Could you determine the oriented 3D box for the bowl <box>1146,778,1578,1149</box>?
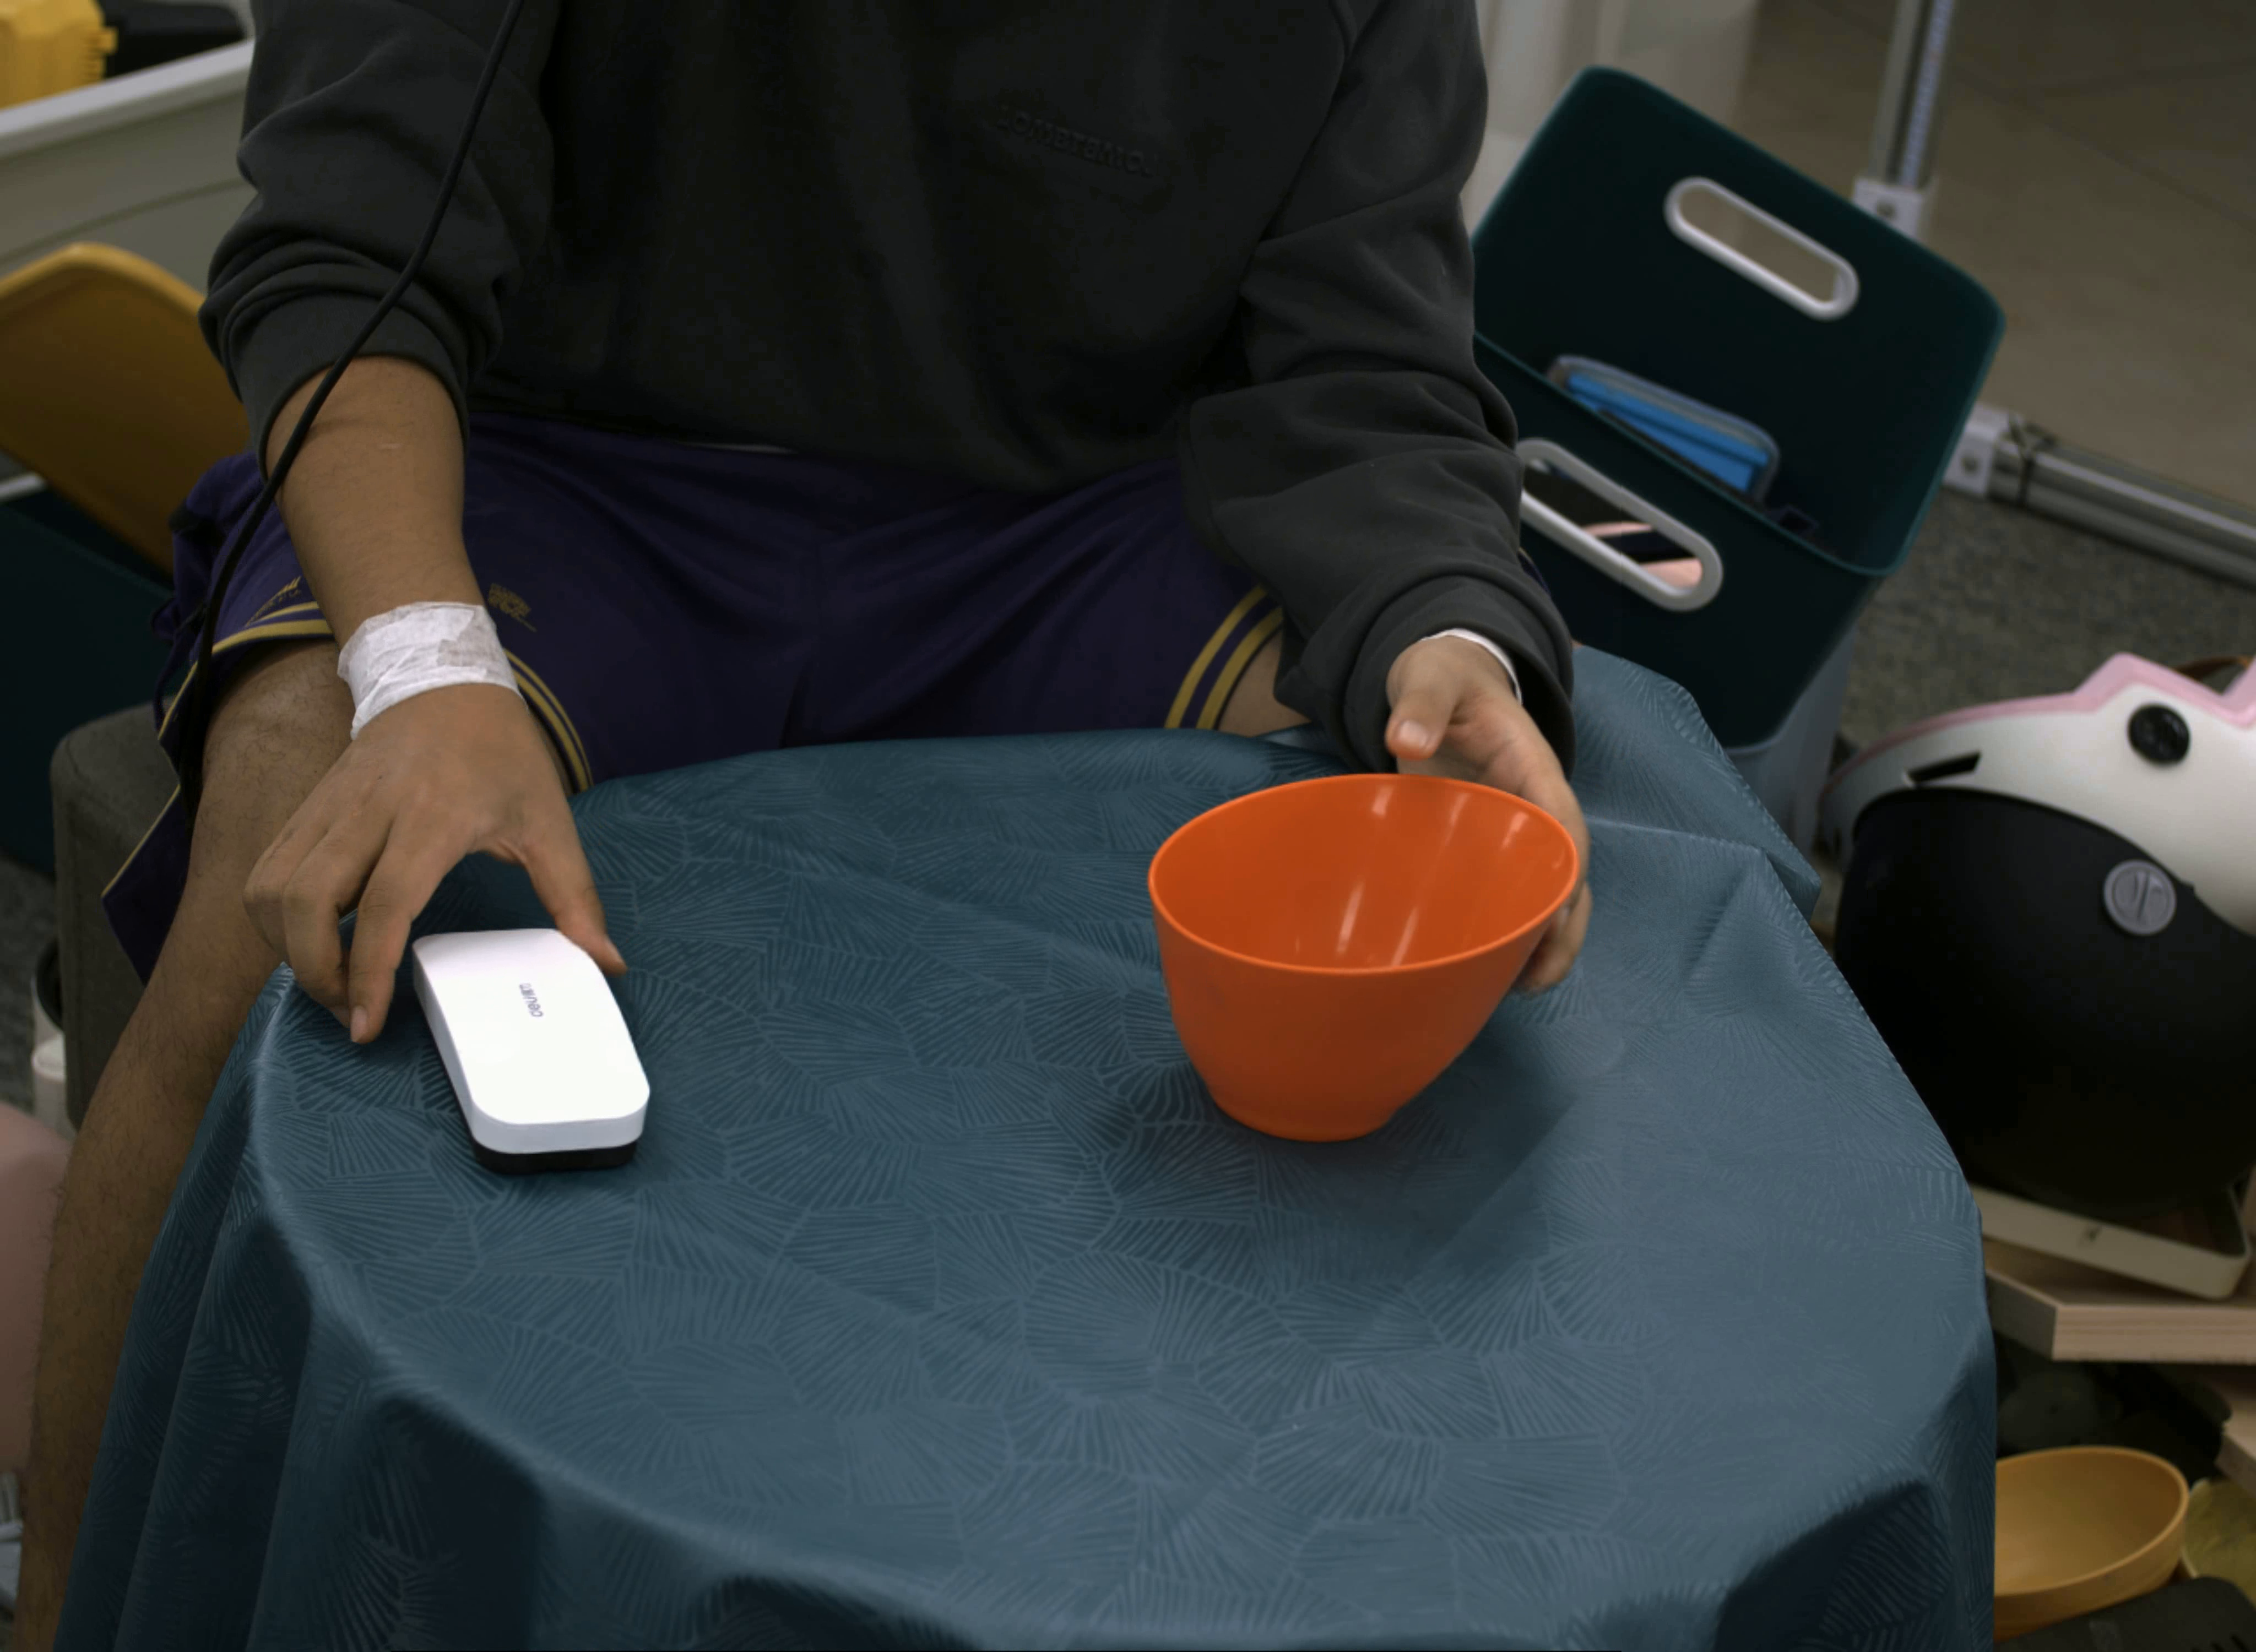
[{"bbox_3d":[0.077,0.053,1.849,0.147,0.104,0.149,4,27,-3],"label":"bowl"}]

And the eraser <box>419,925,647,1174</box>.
[{"bbox_3d":[-0.204,0.073,1.820,0.063,0.034,0.132,-1,29,-17],"label":"eraser"}]
